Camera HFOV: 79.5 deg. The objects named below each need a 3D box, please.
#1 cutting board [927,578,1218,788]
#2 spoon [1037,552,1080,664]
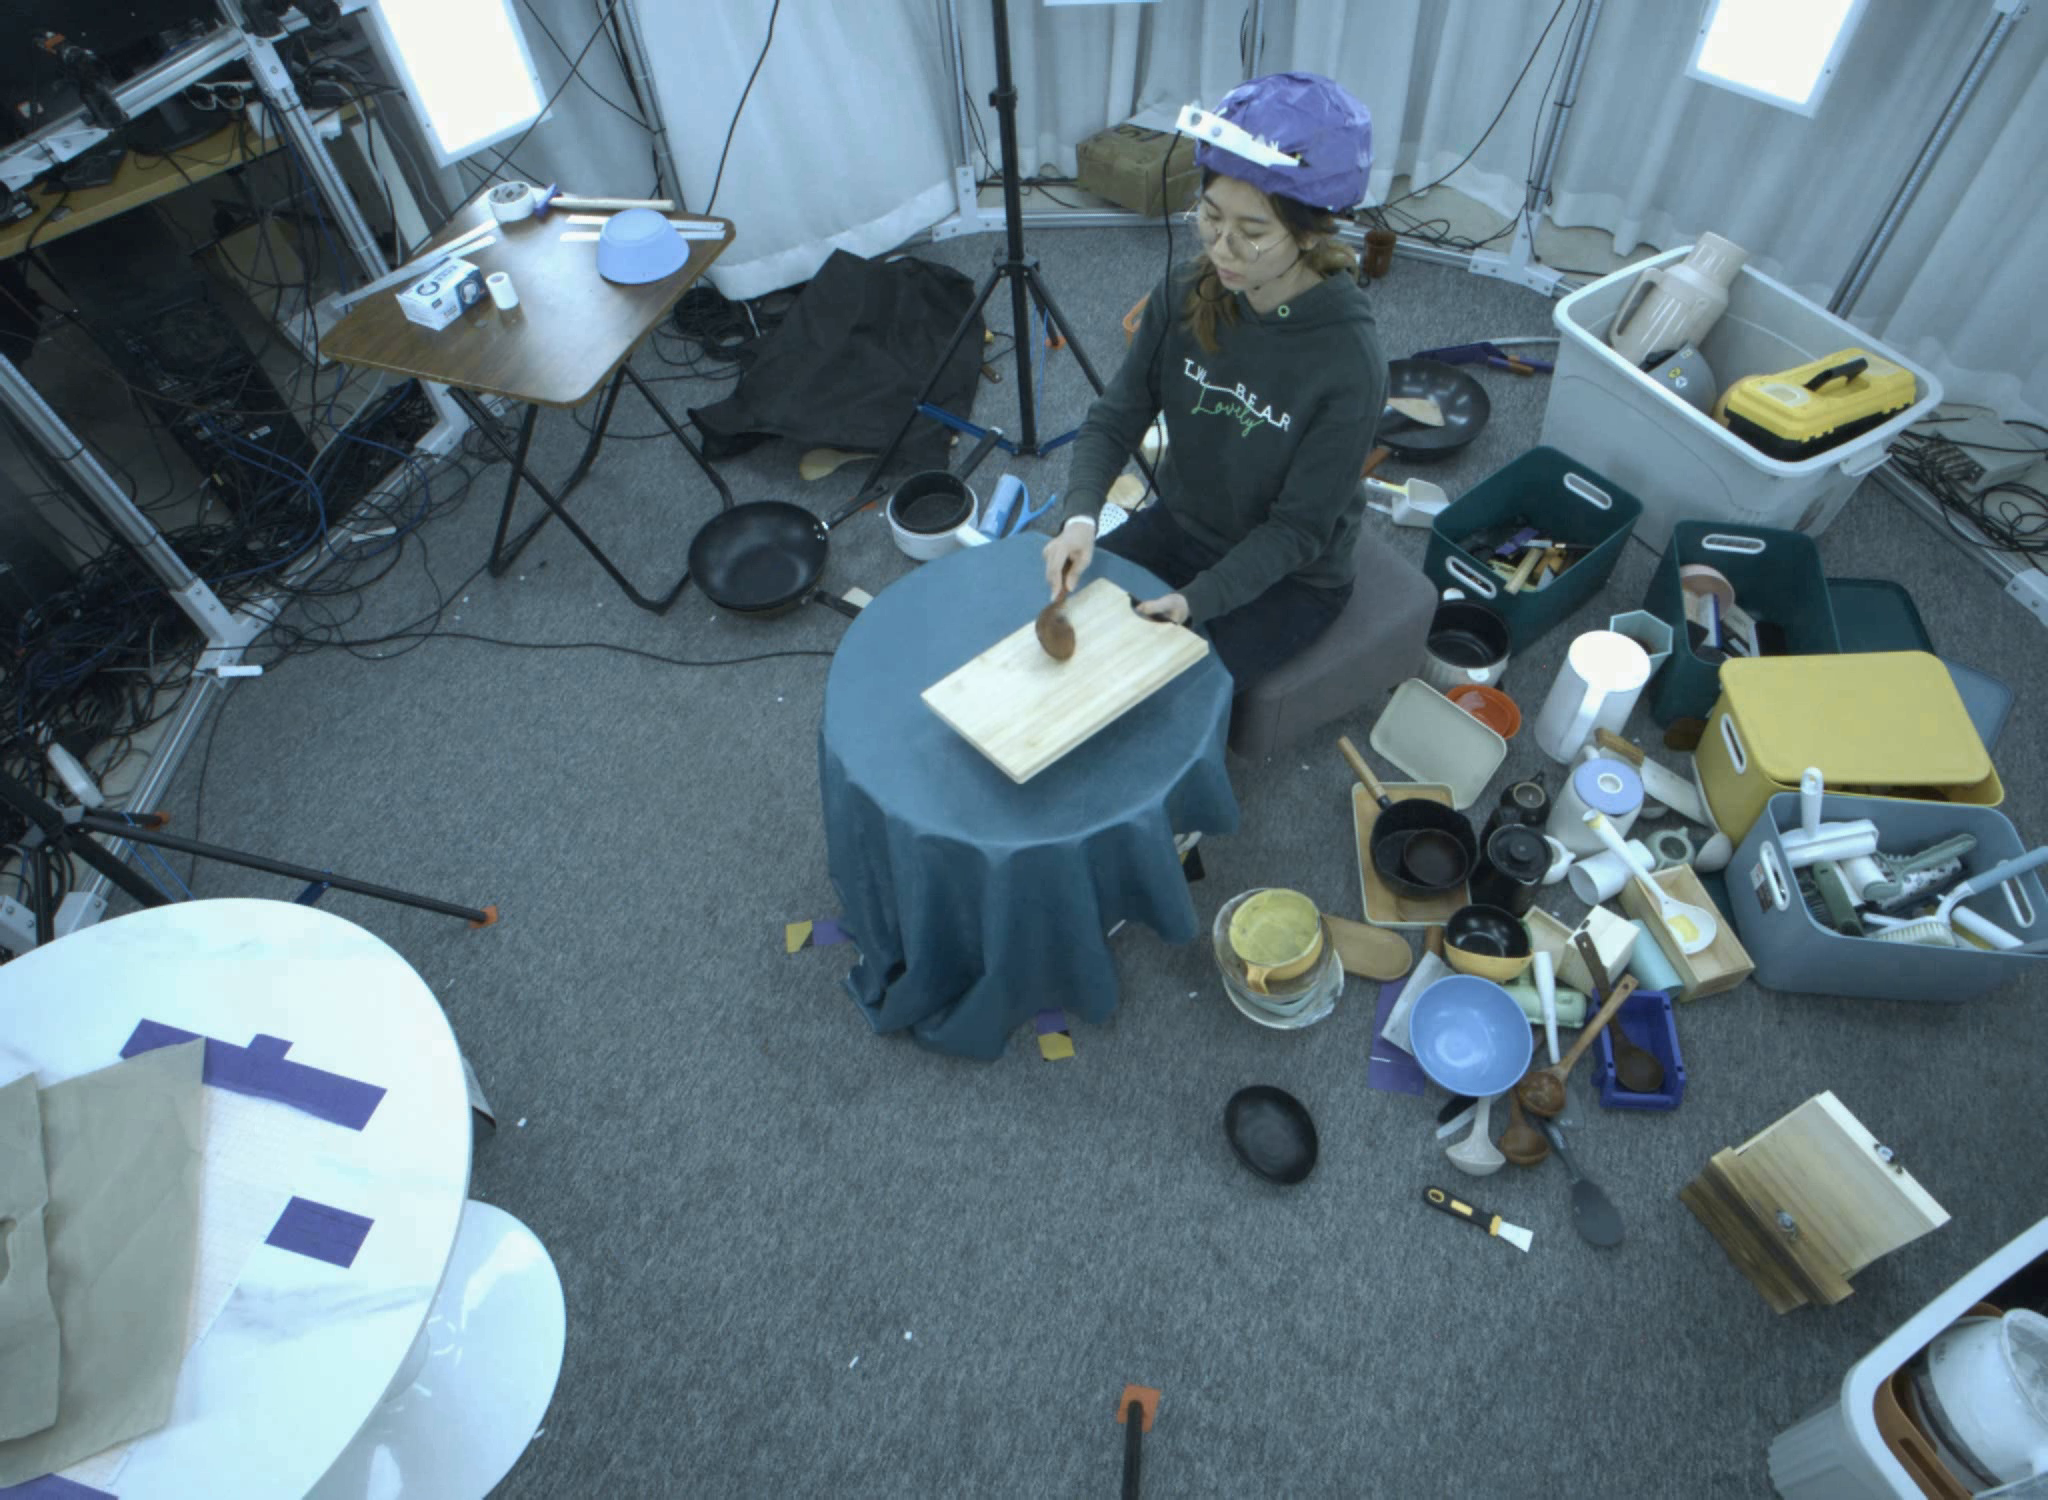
[{"bbox_3d":[0.064,-0.106,1.744,0.351,0.024,0.245,-36,49,-19],"label":"cutting board"},{"bbox_3d":[0.057,-0.209,1.782,0.077,0.017,0.214,35,48,-28],"label":"spoon"}]
